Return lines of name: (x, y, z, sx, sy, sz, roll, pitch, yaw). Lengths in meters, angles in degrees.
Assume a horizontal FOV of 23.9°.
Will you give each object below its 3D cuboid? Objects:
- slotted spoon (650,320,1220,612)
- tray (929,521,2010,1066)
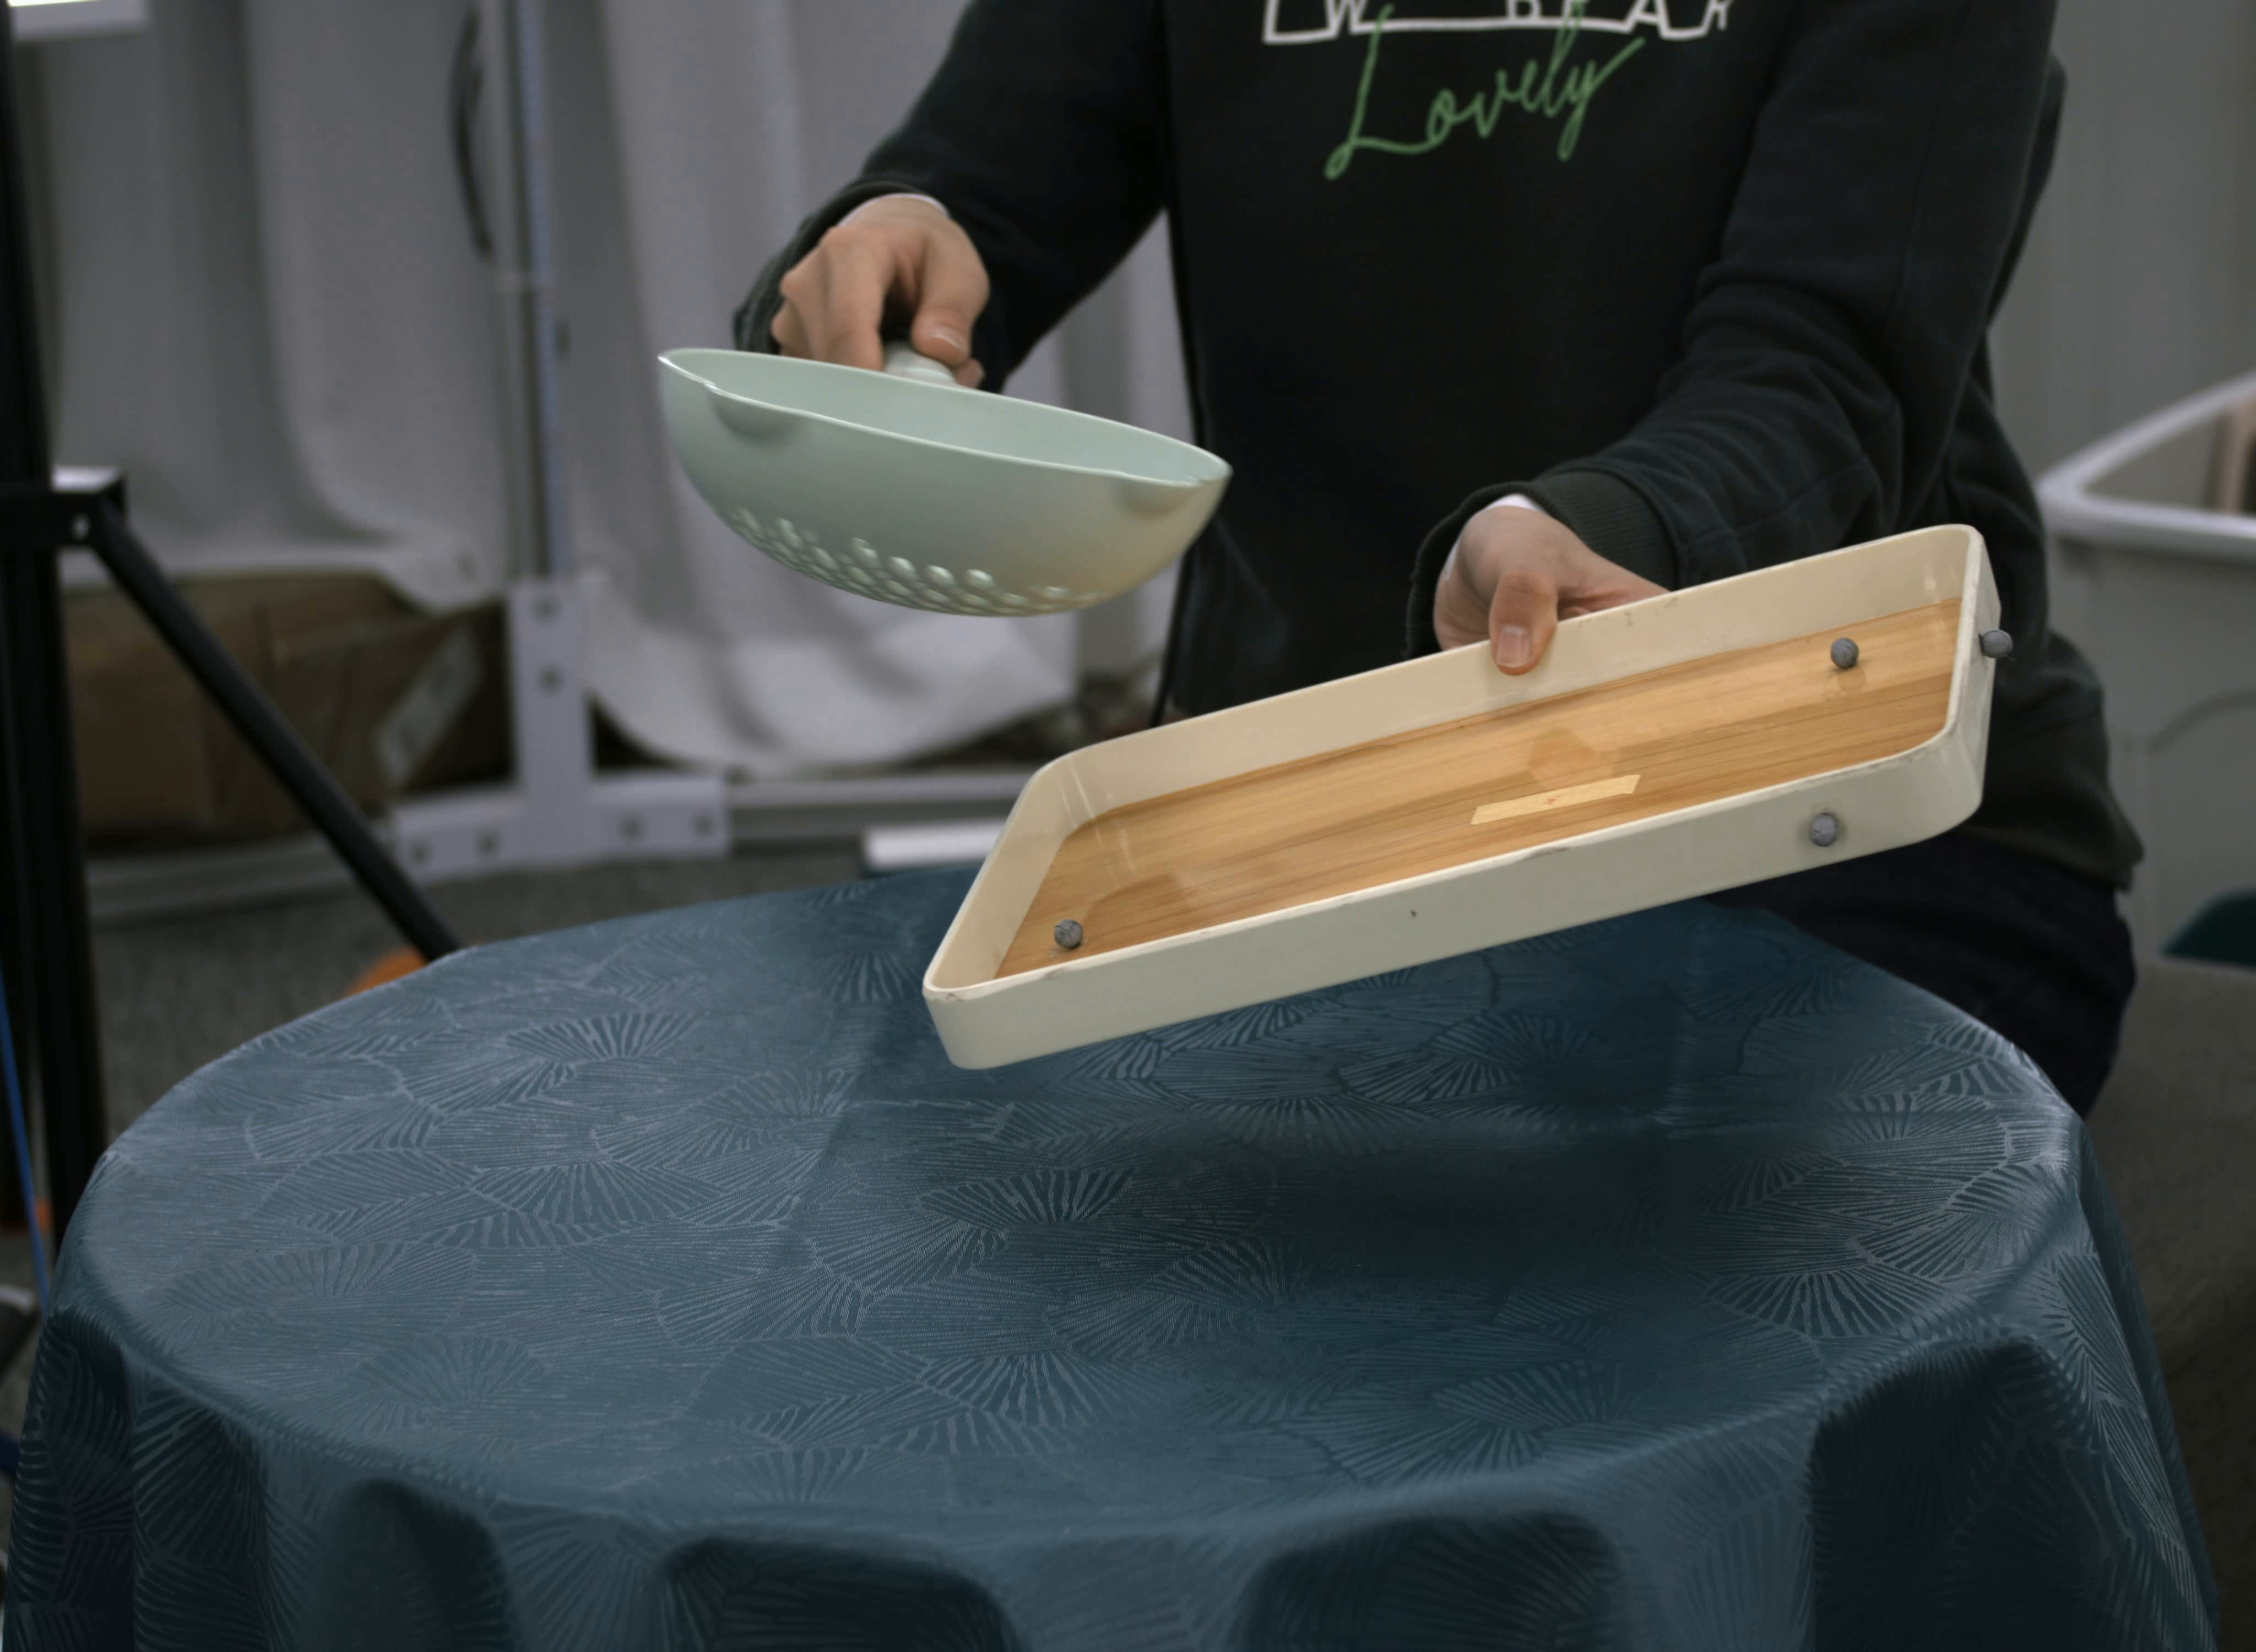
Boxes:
slotted spoon: (-0.066, -0.128, 1.648, 0.168, 0.075, 0.361, 11, 17, -6)
tray: (0.101, -0.010, 1.510, 0.303, 0.027, 0.191, -14, 19, 18)
